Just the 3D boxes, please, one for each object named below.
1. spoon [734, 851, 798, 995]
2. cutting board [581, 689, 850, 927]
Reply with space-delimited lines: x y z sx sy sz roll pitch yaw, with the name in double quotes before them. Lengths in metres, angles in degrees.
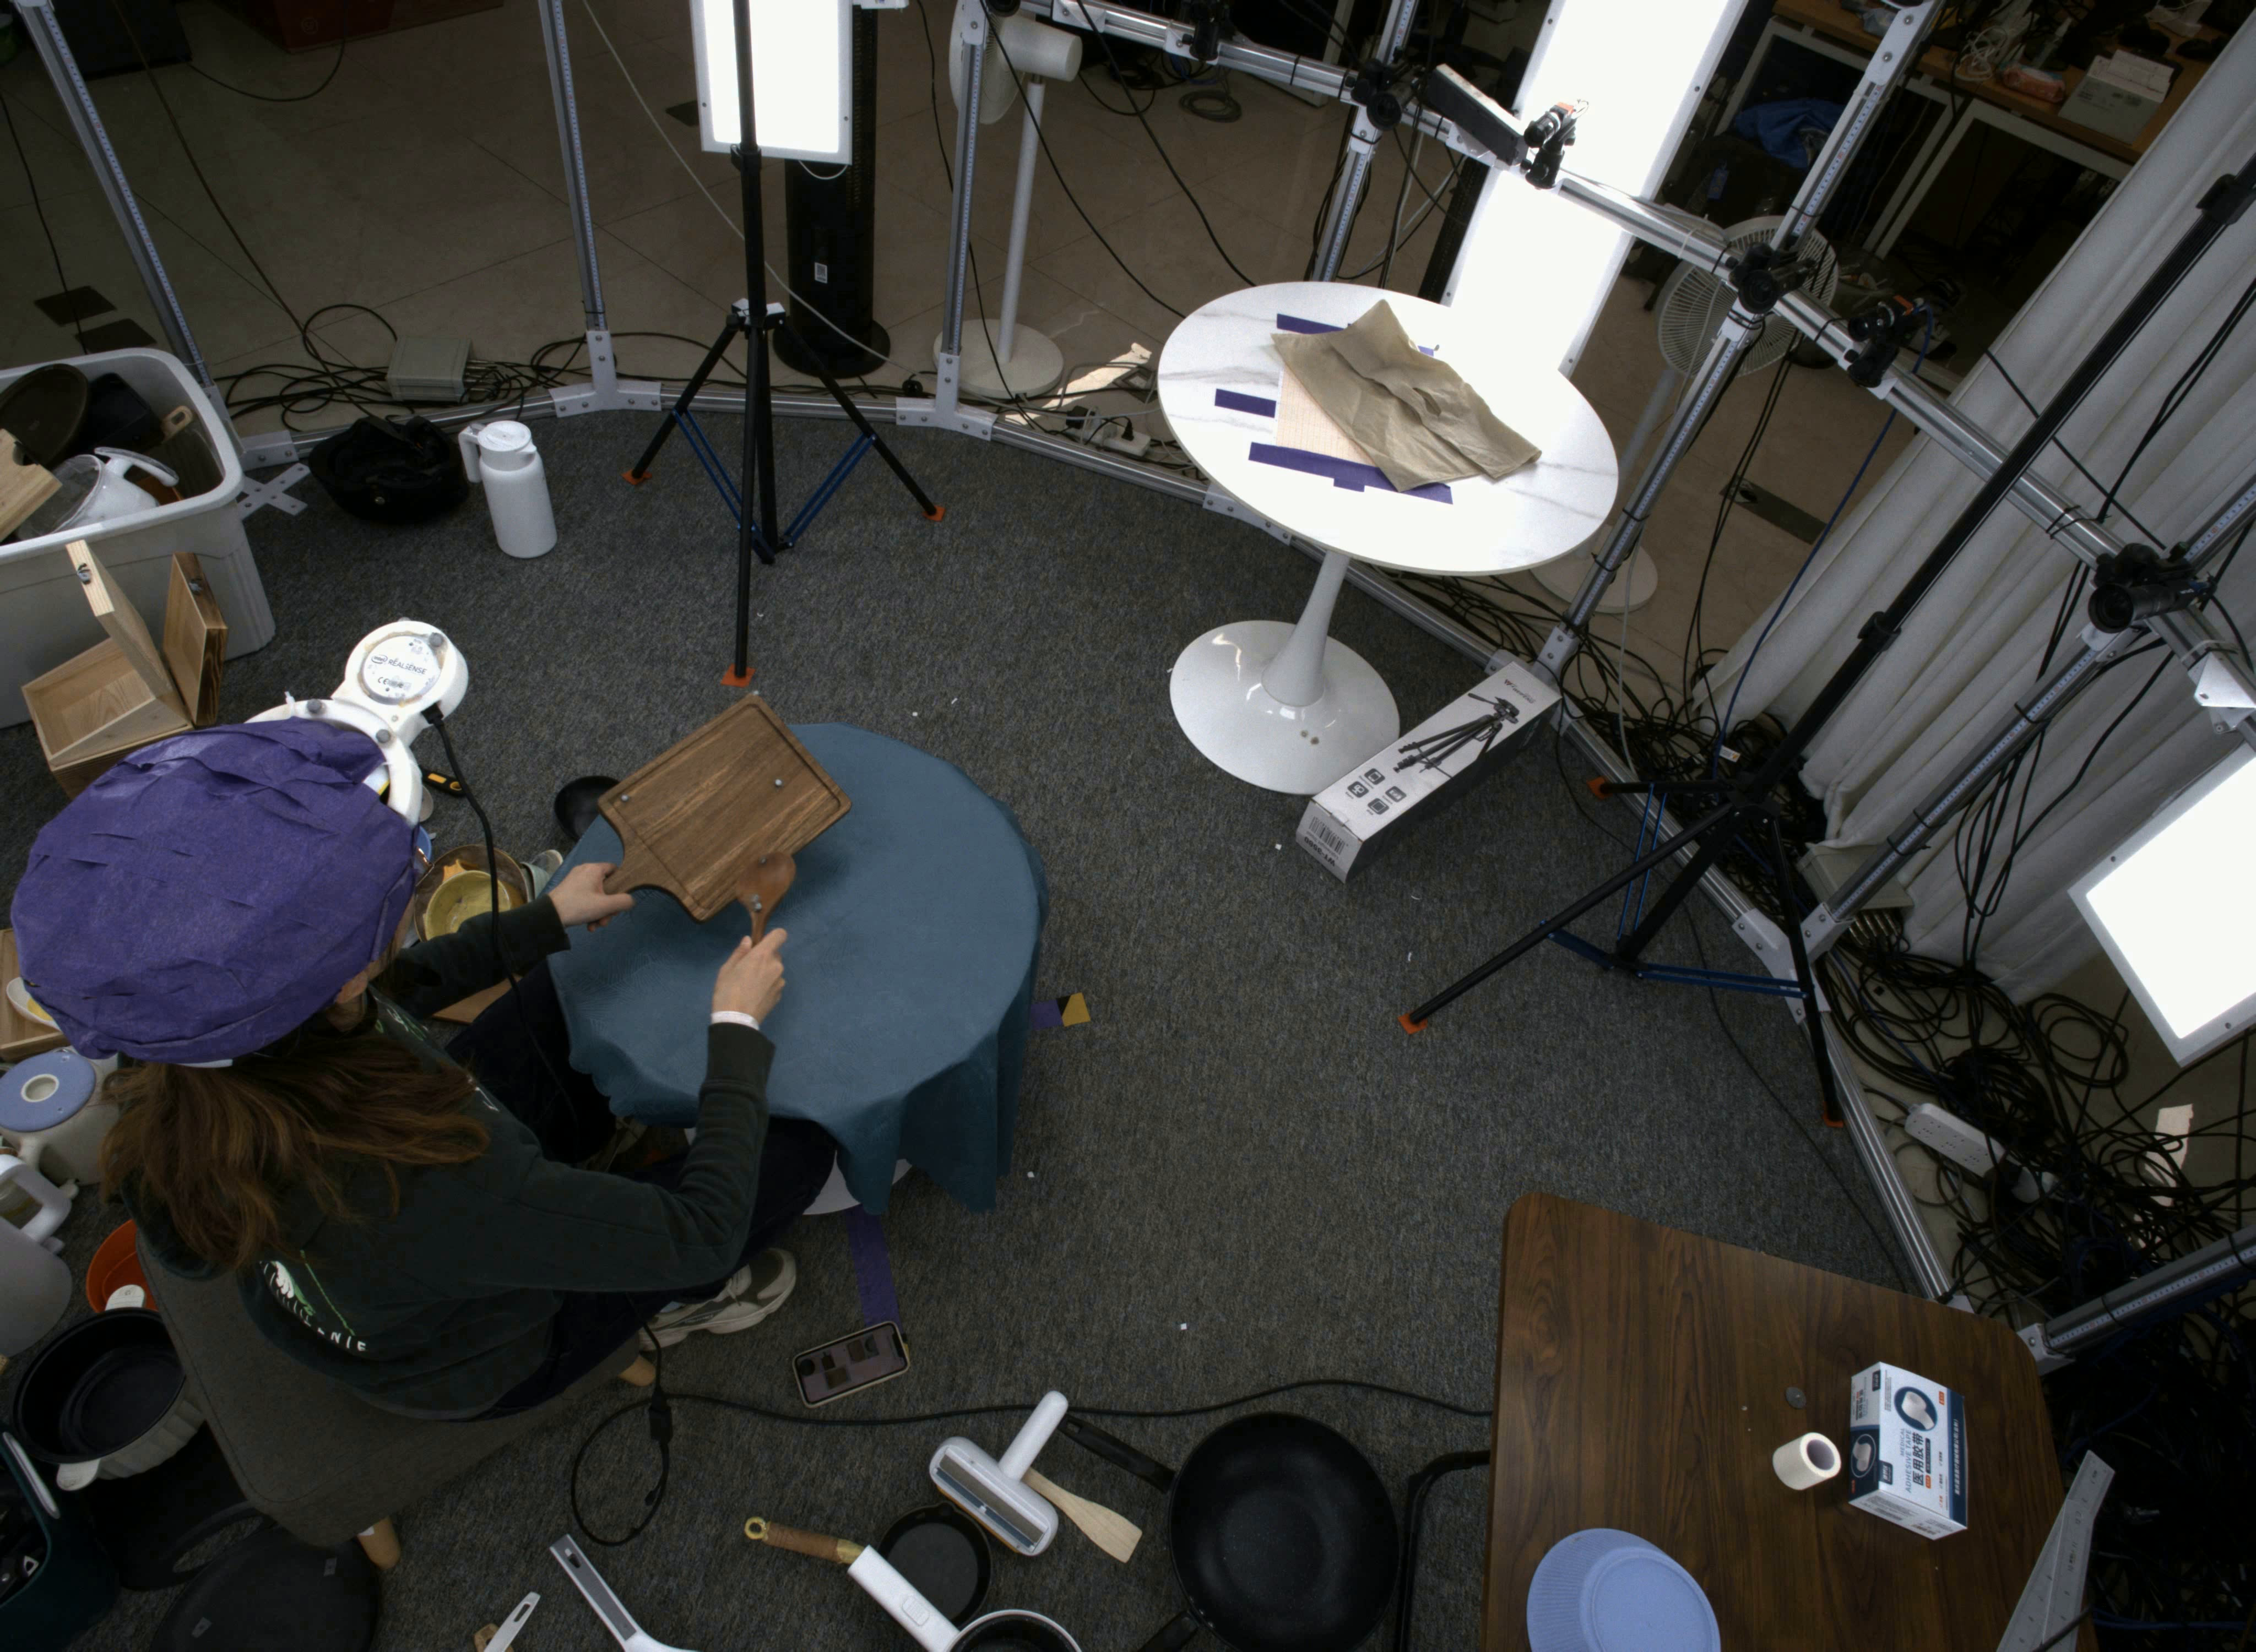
"spoon" -0.412 0.103 1.449 0.074 0.018 0.210 -12 41 4
"cutting board" -0.528 0.001 1.572 0.203 0.023 0.352 50 59 -6
